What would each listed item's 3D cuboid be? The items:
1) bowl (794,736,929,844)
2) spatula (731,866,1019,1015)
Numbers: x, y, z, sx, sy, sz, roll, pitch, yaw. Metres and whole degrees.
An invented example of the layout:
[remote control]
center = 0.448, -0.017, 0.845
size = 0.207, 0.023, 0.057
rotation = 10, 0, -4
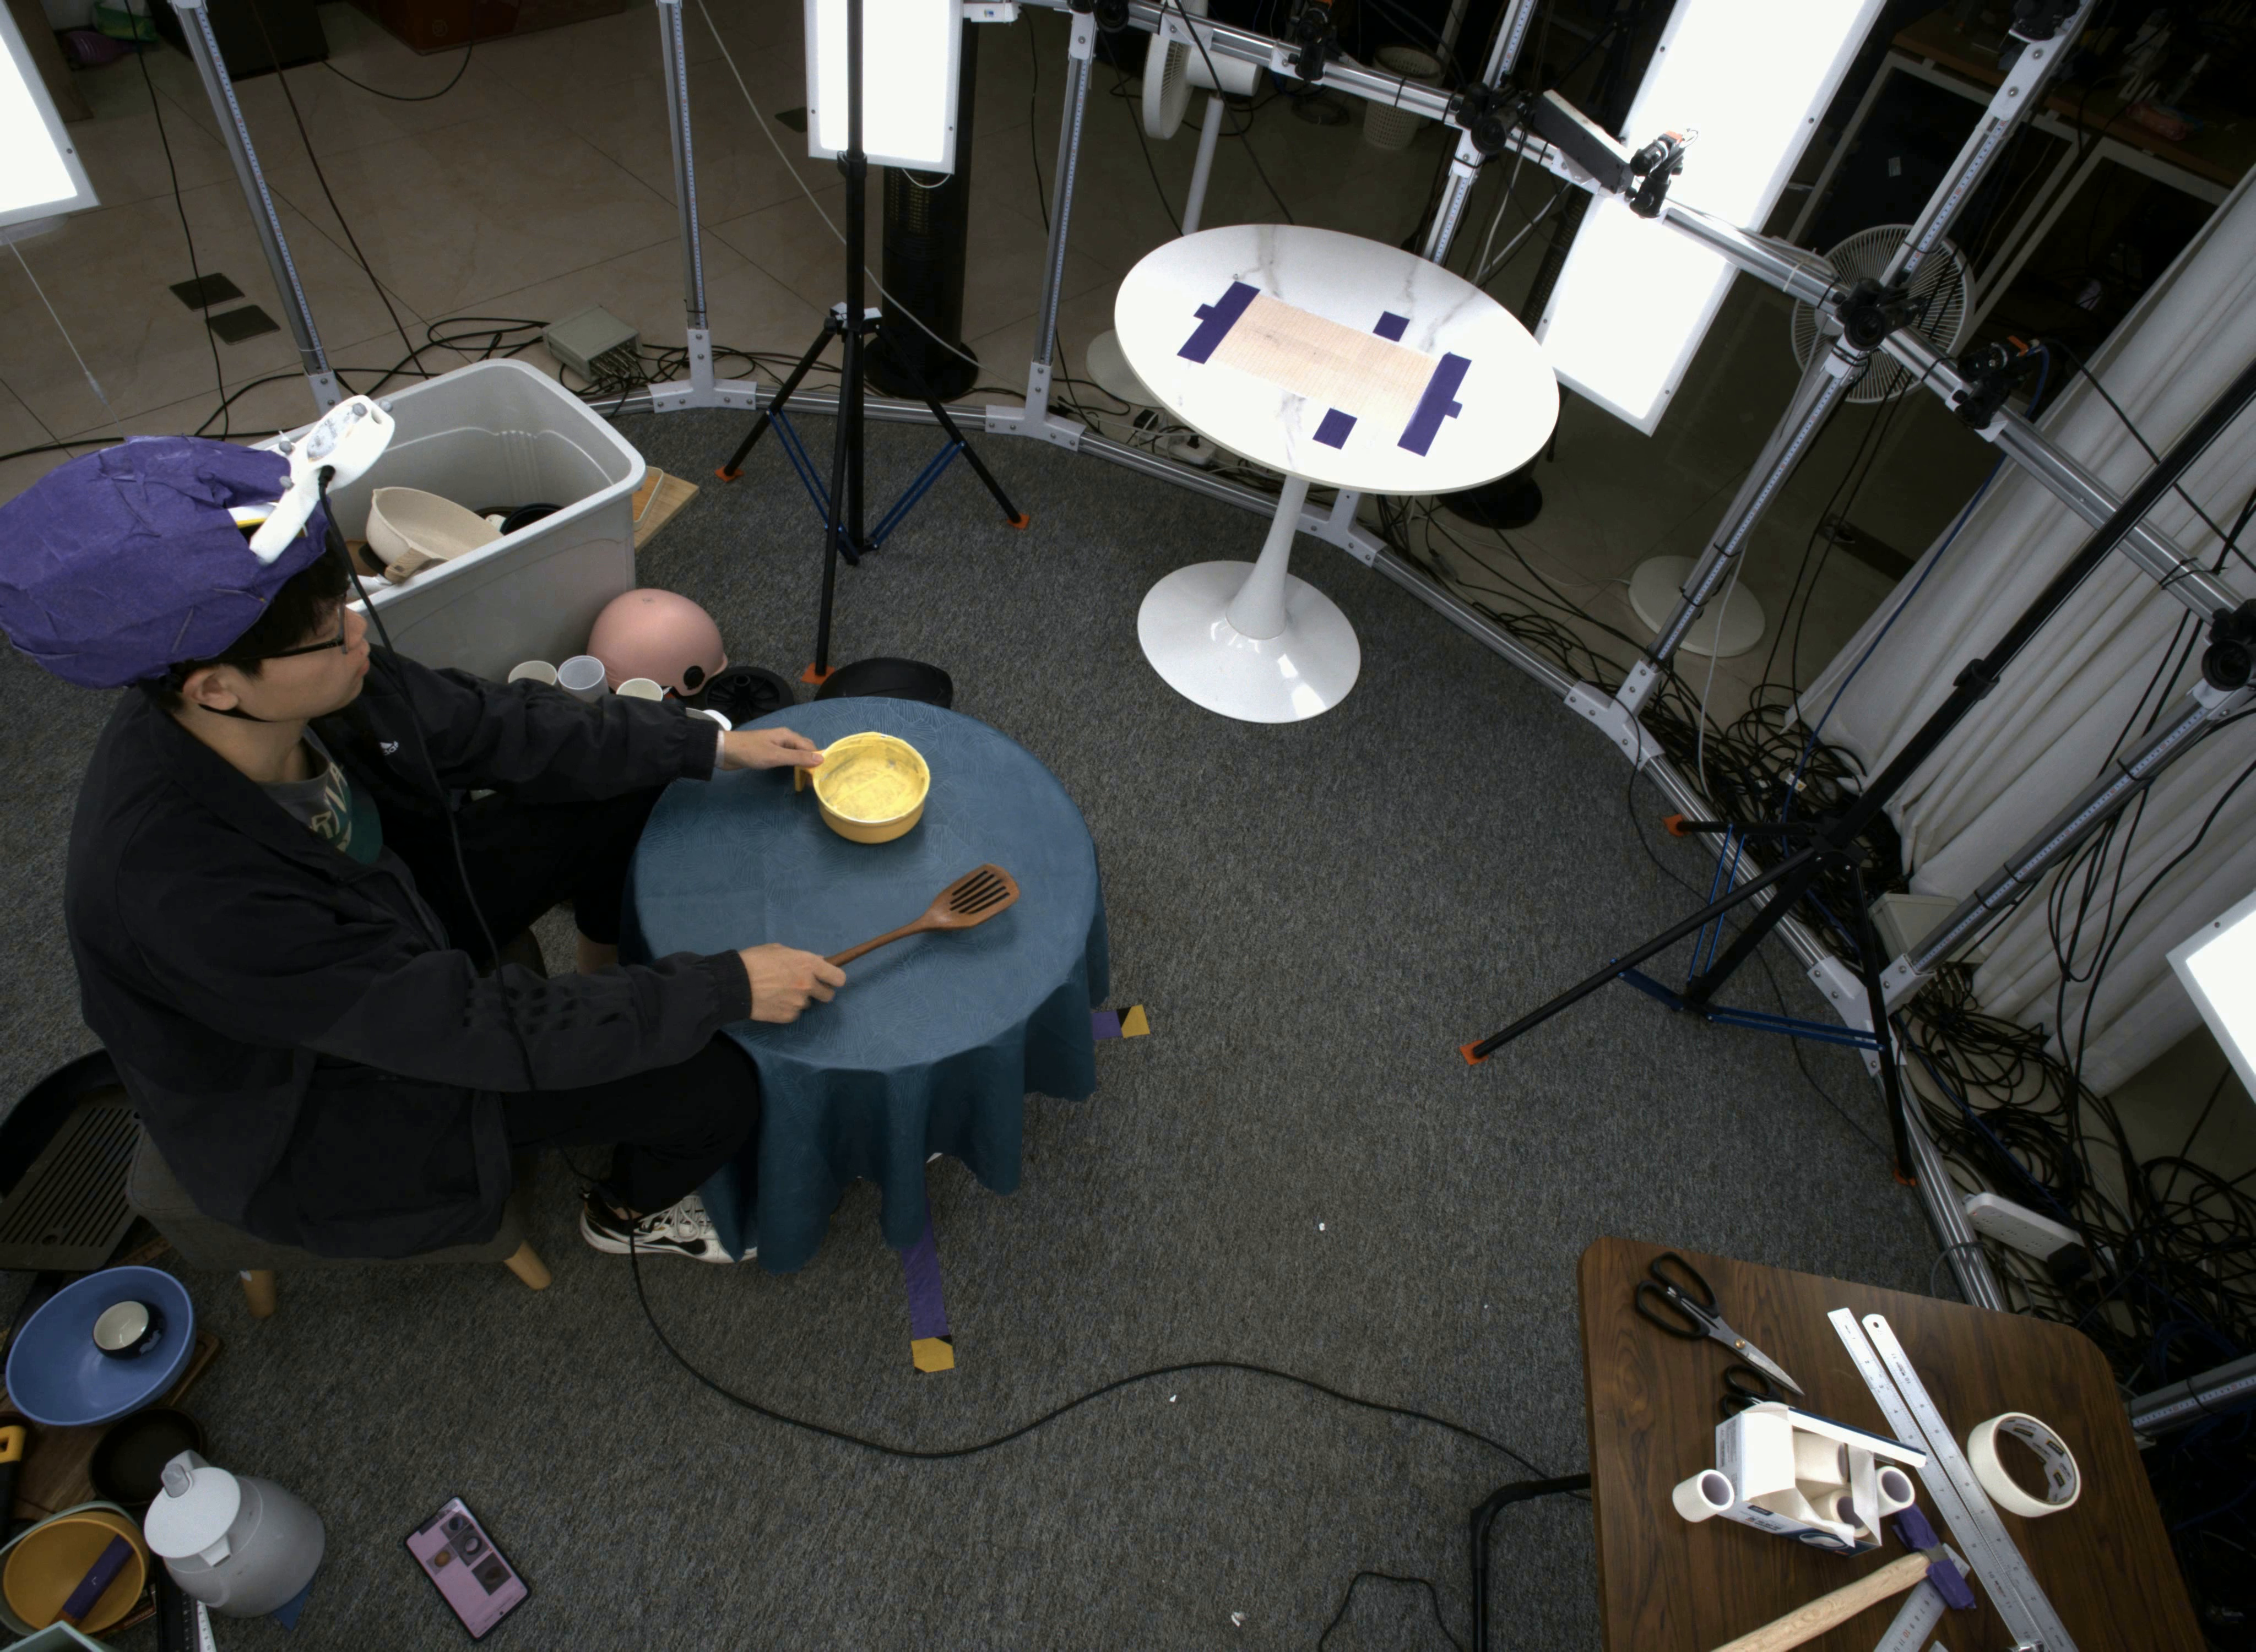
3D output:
[bowl]
center = -0.357, -0.049, 1.738
size = 0.178, 0.076, 0.150
rotation = 13, 51, -5
[spatula]
center = -0.308, 0.144, 1.606
size = 0.389, 0.025, 0.082
rotation = -24, 49, -29
